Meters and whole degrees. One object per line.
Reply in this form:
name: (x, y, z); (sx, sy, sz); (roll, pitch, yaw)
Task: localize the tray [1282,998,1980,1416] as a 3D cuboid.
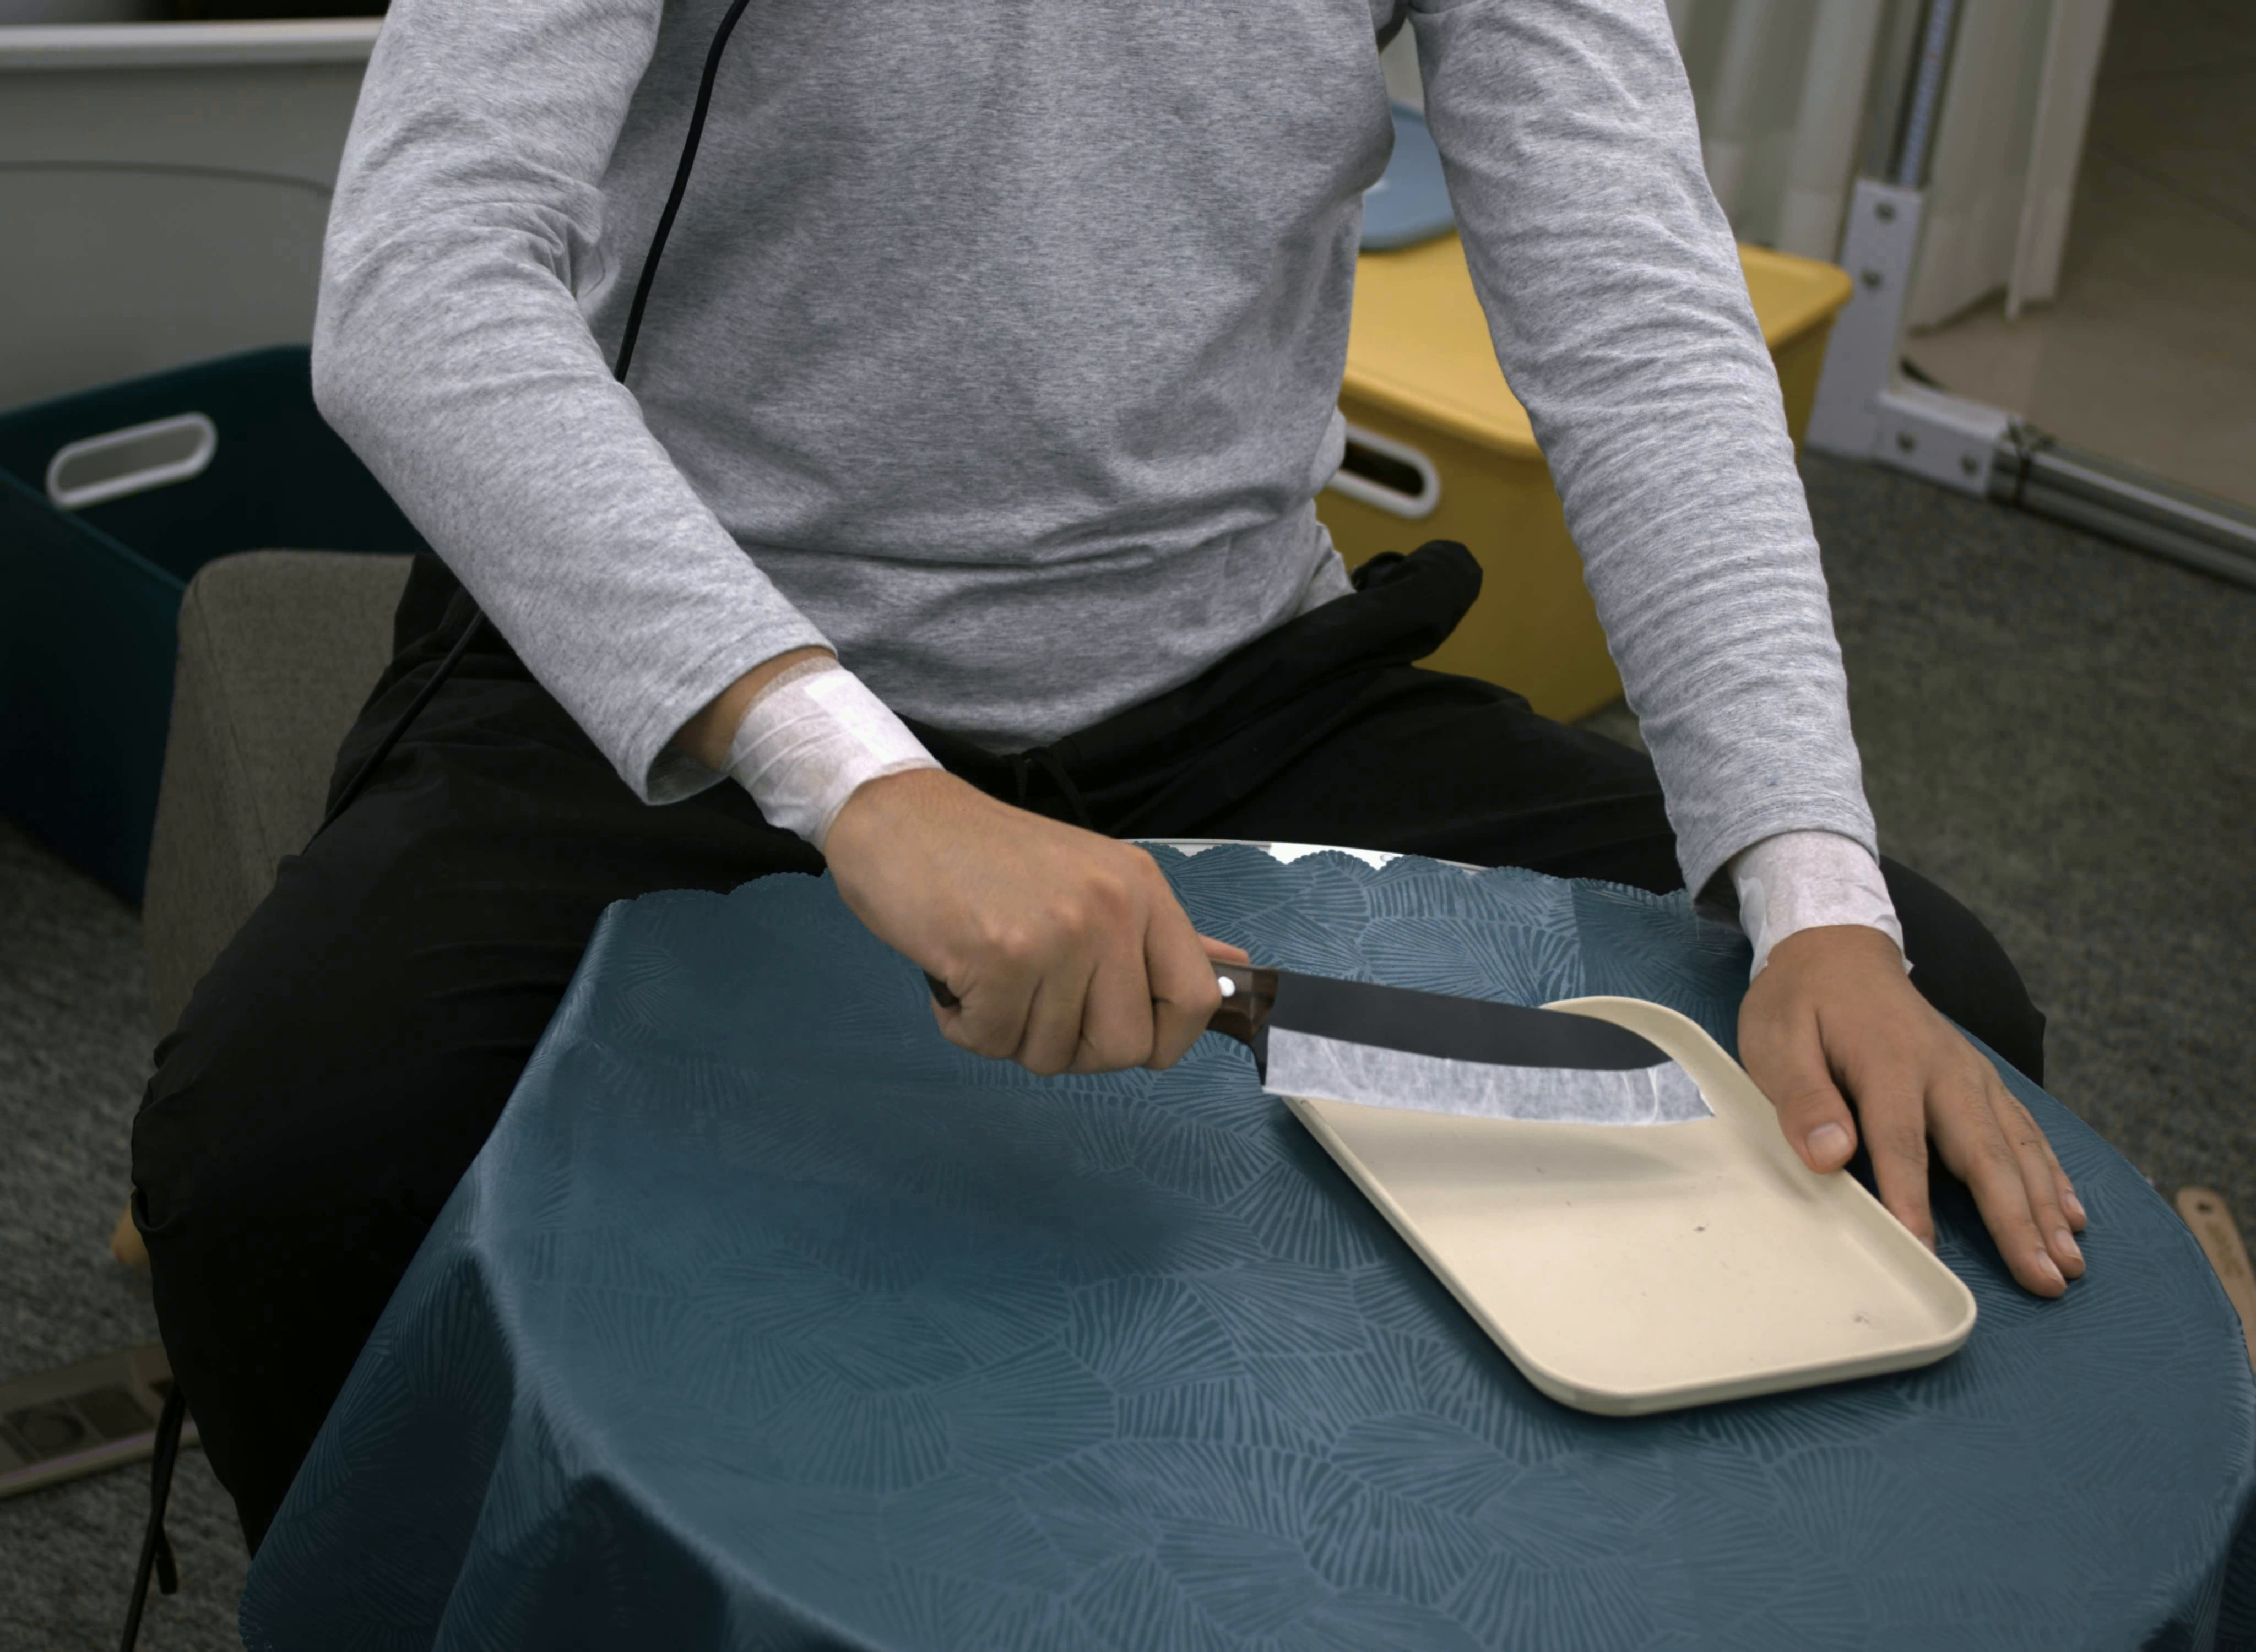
tray: (0.167, 0.128, 1.815); (0.170, 0.017, 0.242); (-6, 29, -24)

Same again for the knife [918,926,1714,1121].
knife: (0.067, 0.069, 1.803); (0.287, 0.020, 0.050); (11, 69, -15)
